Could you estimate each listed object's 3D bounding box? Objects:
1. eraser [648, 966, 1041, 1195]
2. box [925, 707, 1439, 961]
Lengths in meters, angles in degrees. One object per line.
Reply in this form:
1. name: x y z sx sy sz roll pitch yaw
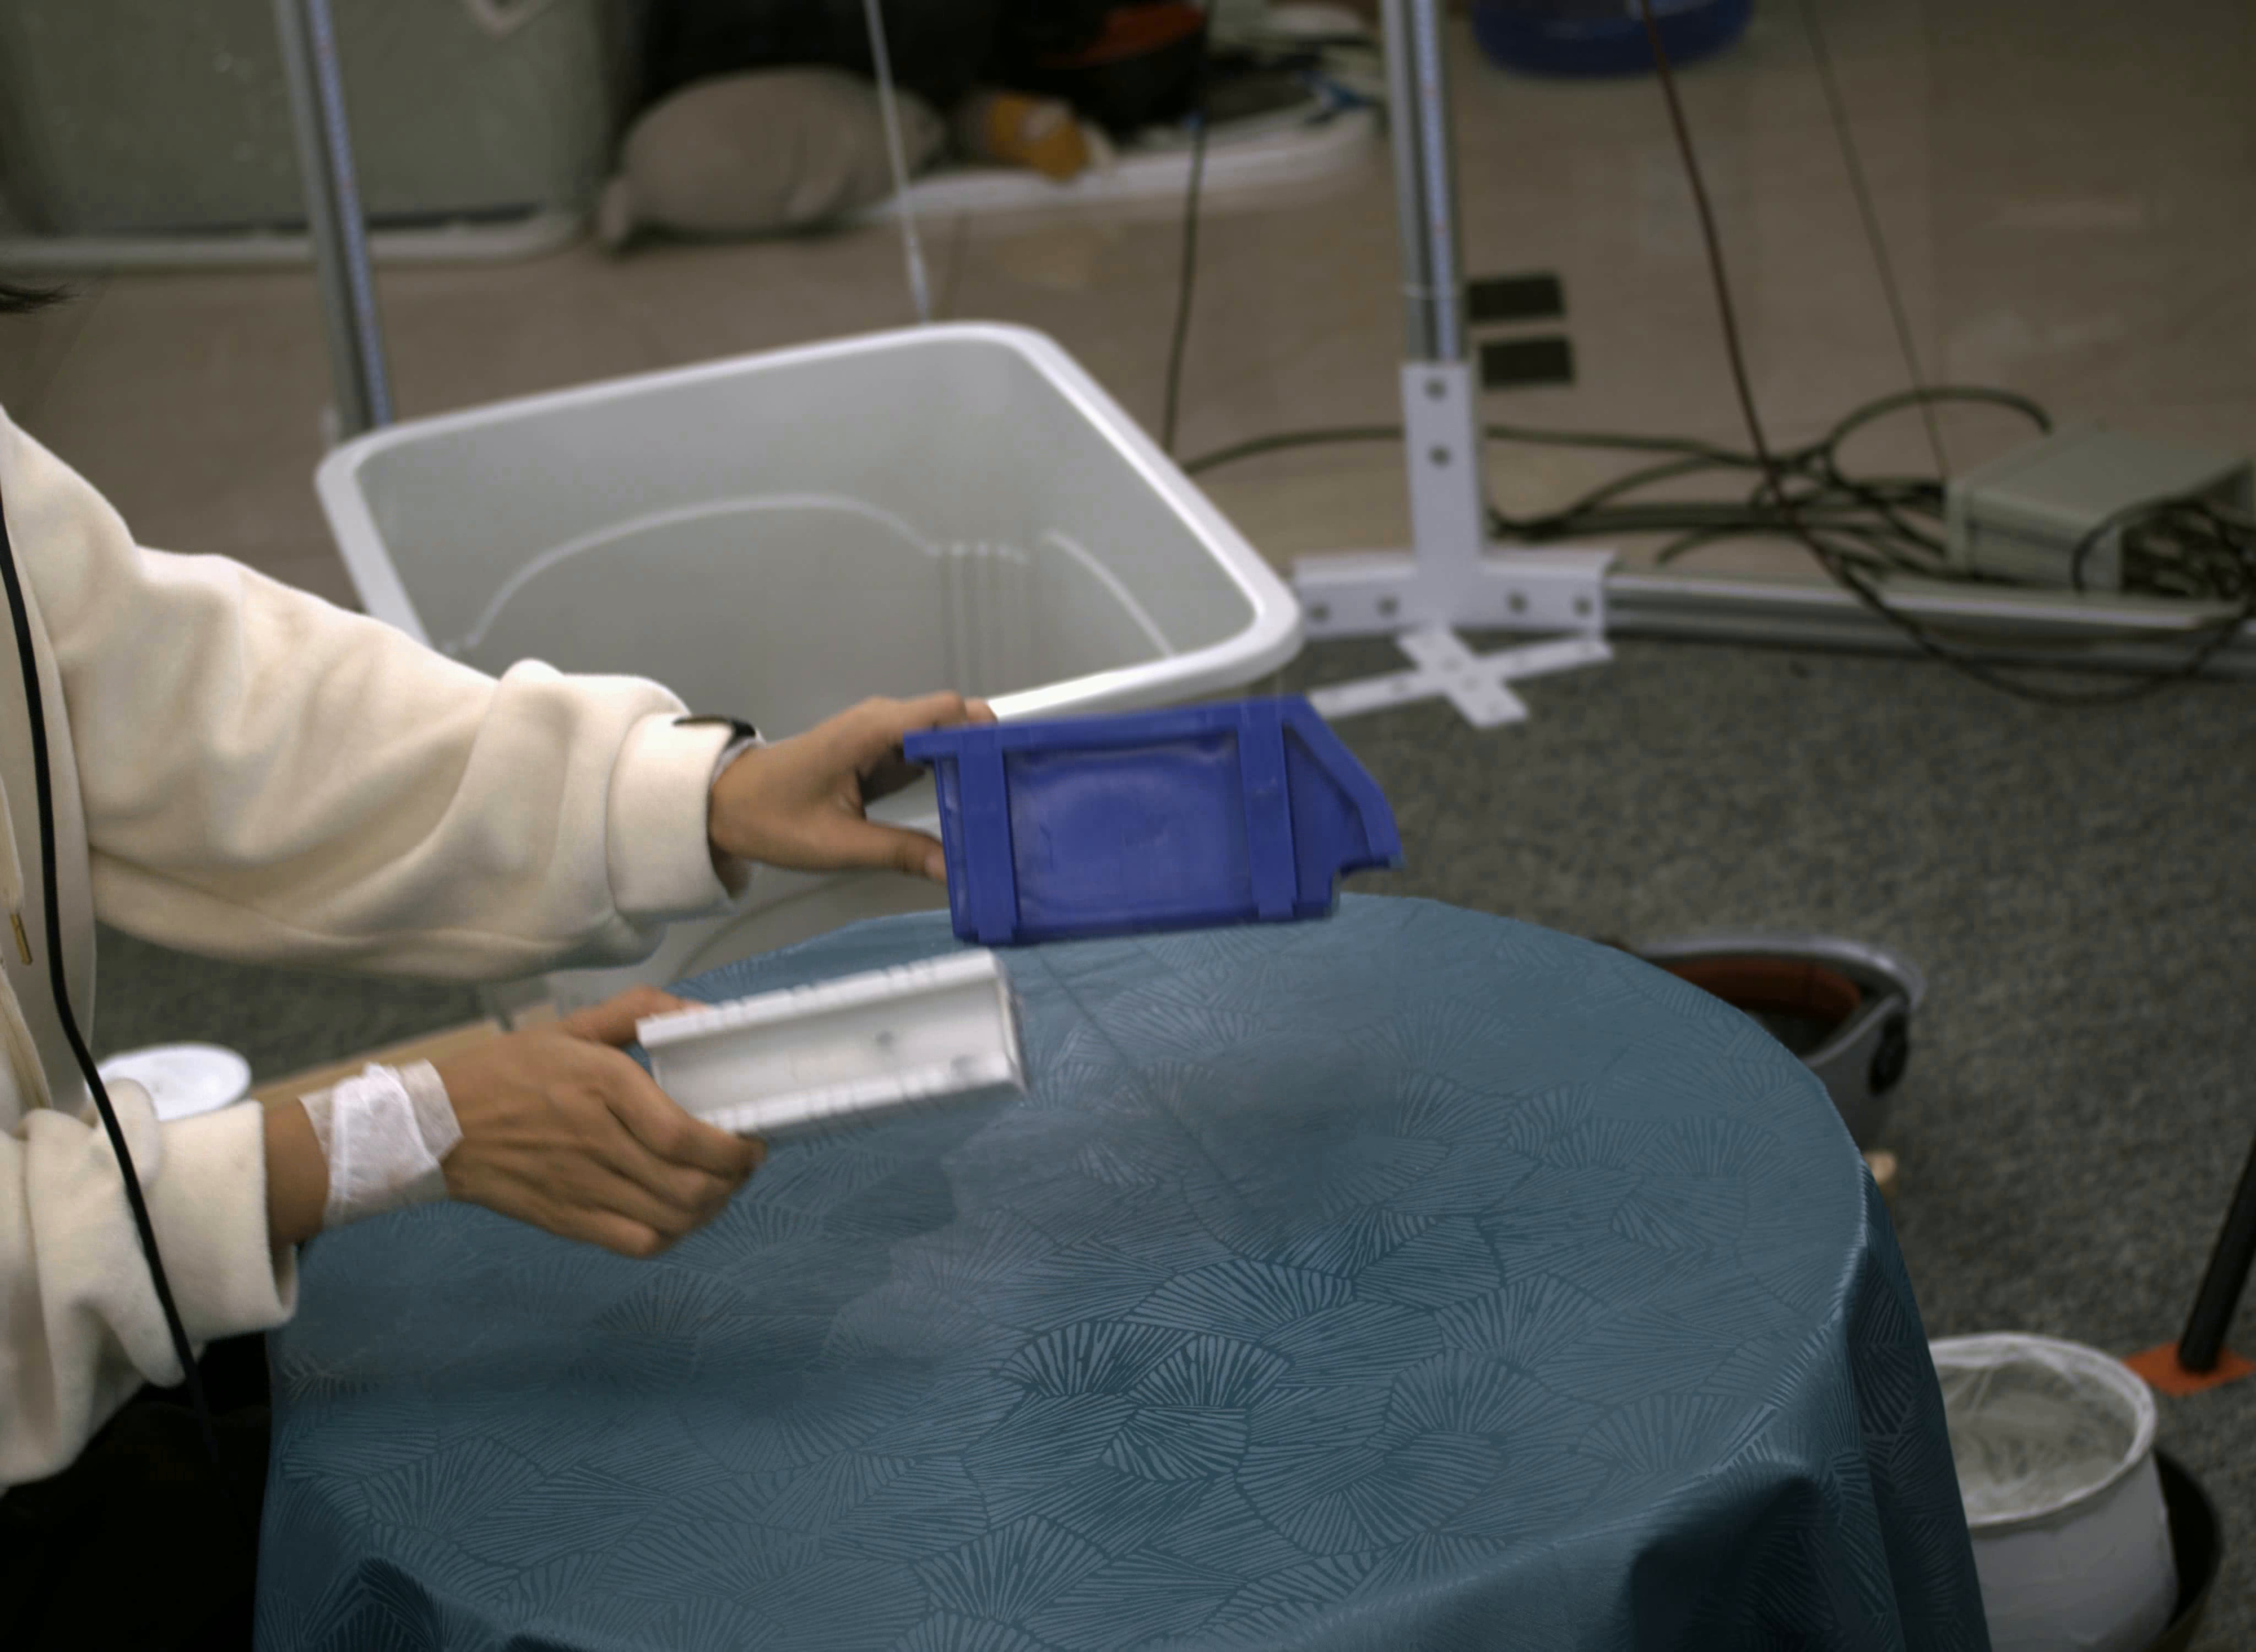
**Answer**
1. eraser: -0.102 0.093 2.051 0.134 0.049 0.047 -13 -16 7
2. box: 0.024 0.003 2.143 0.179 0.082 0.124 -7 -2 6
